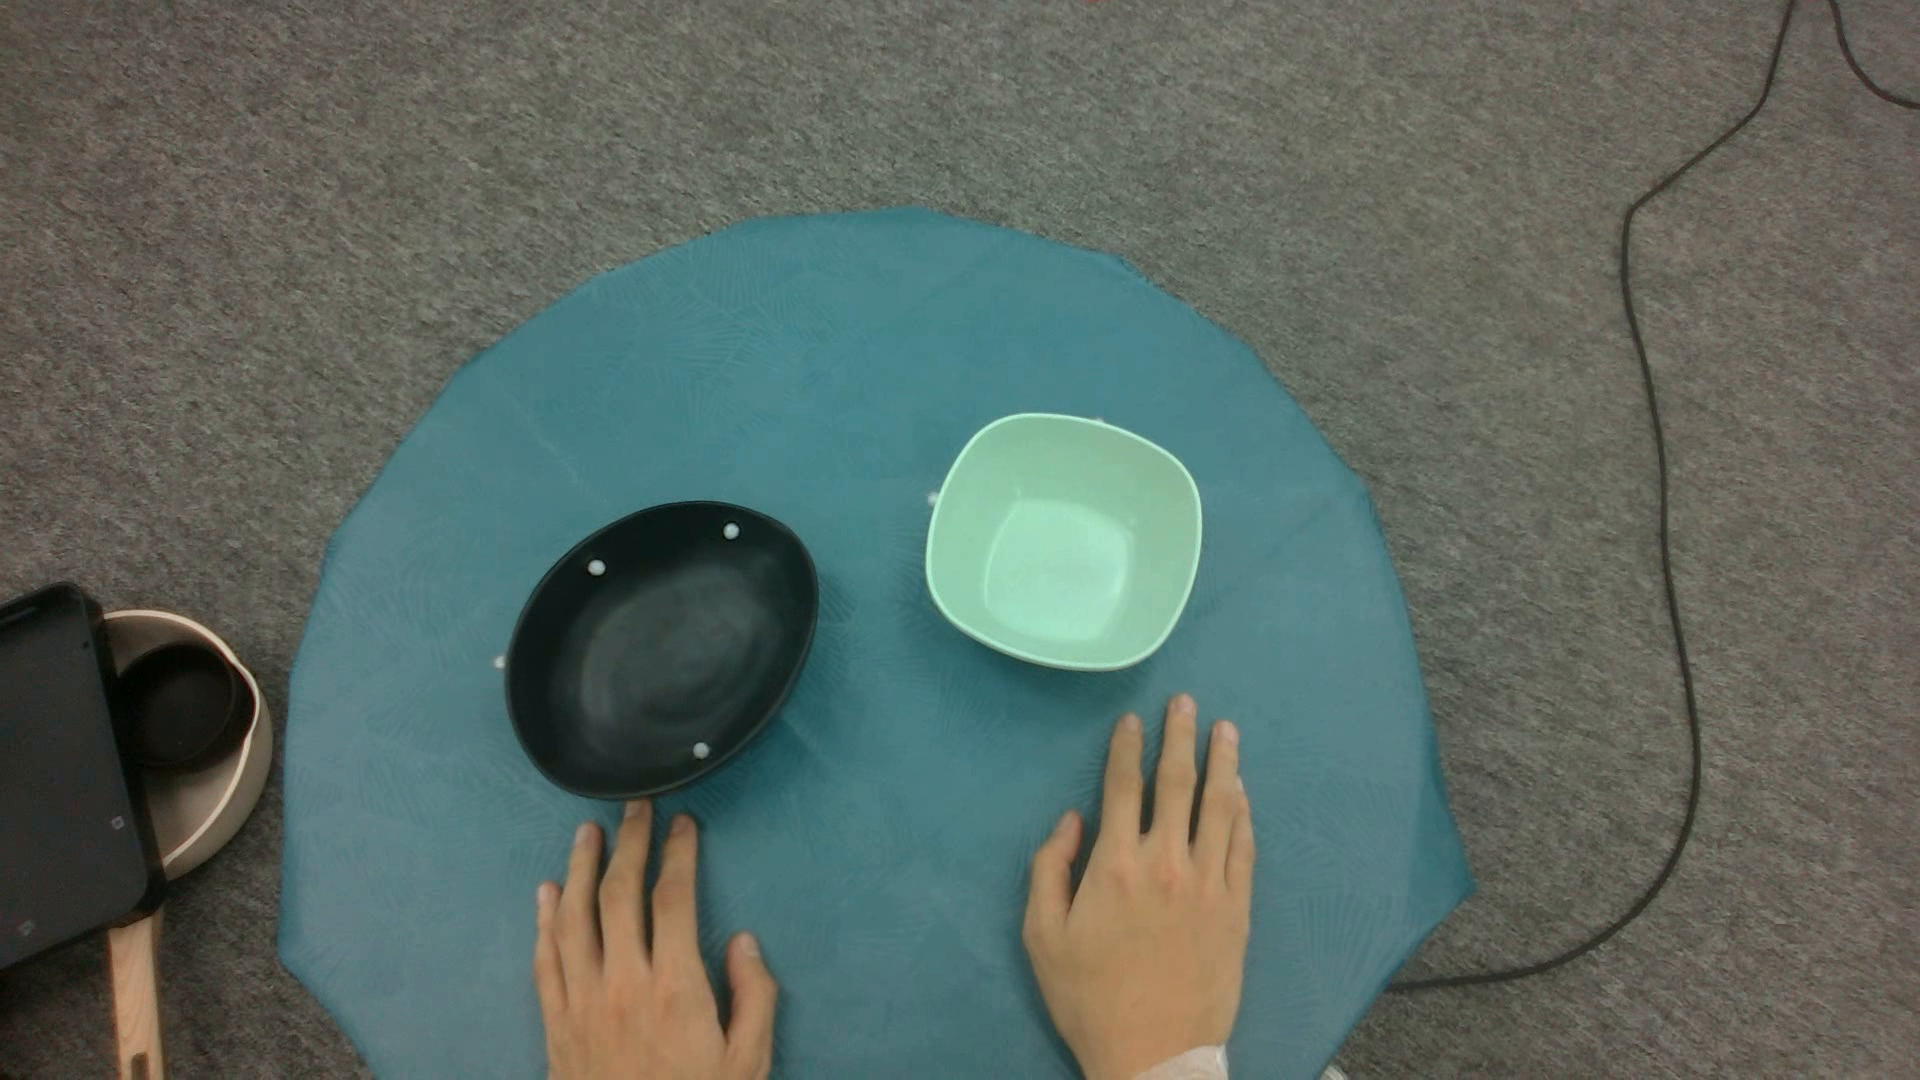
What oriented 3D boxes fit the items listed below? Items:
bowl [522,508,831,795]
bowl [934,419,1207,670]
[{"bbox_3d":[-0.142,0.060,0.717,0.137,0.066,0.171,36,70,14],"label":"bowl"},{"bbox_3d":[0.059,0.010,0.741,0.151,0.058,0.152,-1,65,2],"label":"bowl"}]
